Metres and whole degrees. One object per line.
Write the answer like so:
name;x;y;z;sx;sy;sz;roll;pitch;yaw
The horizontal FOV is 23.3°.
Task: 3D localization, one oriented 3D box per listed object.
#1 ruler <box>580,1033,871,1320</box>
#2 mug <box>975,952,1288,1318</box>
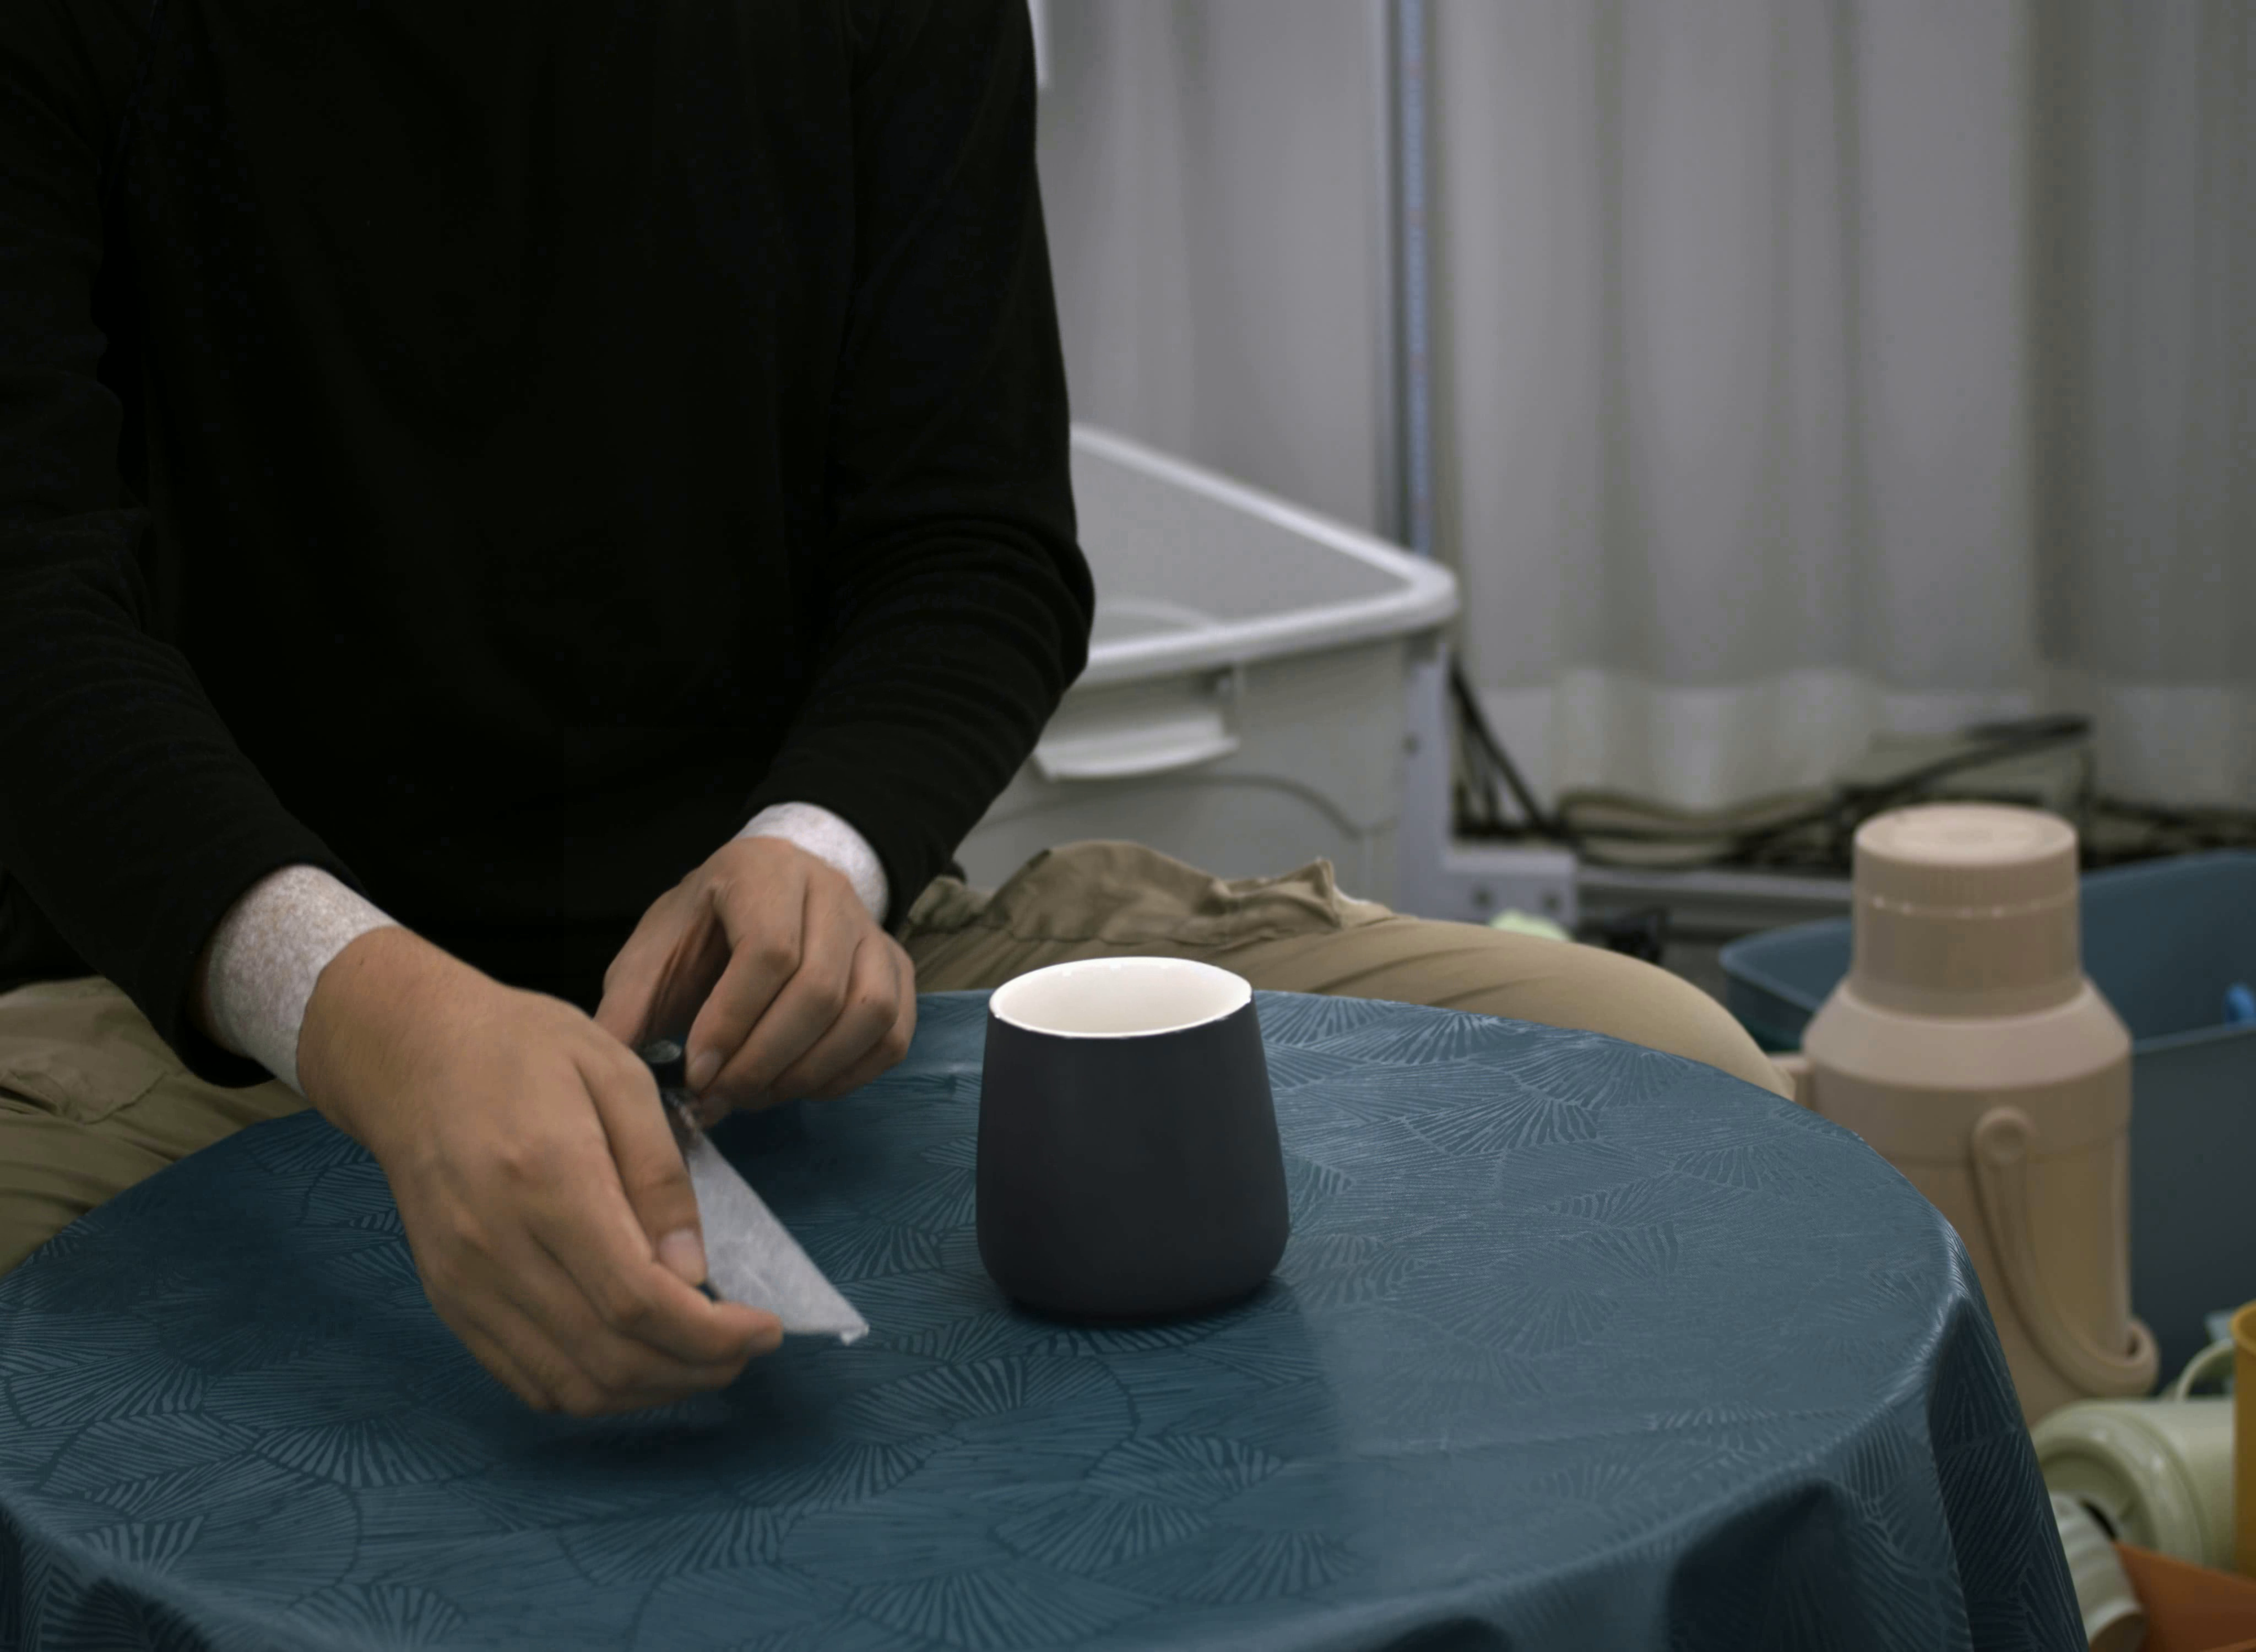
ruler;-0.122;0.100;1.601;0.038;0.024;0.220;-6;15;-18
mug;-0.005;0.088;1.635;0.093;0.089;0.124;-7;16;-19
